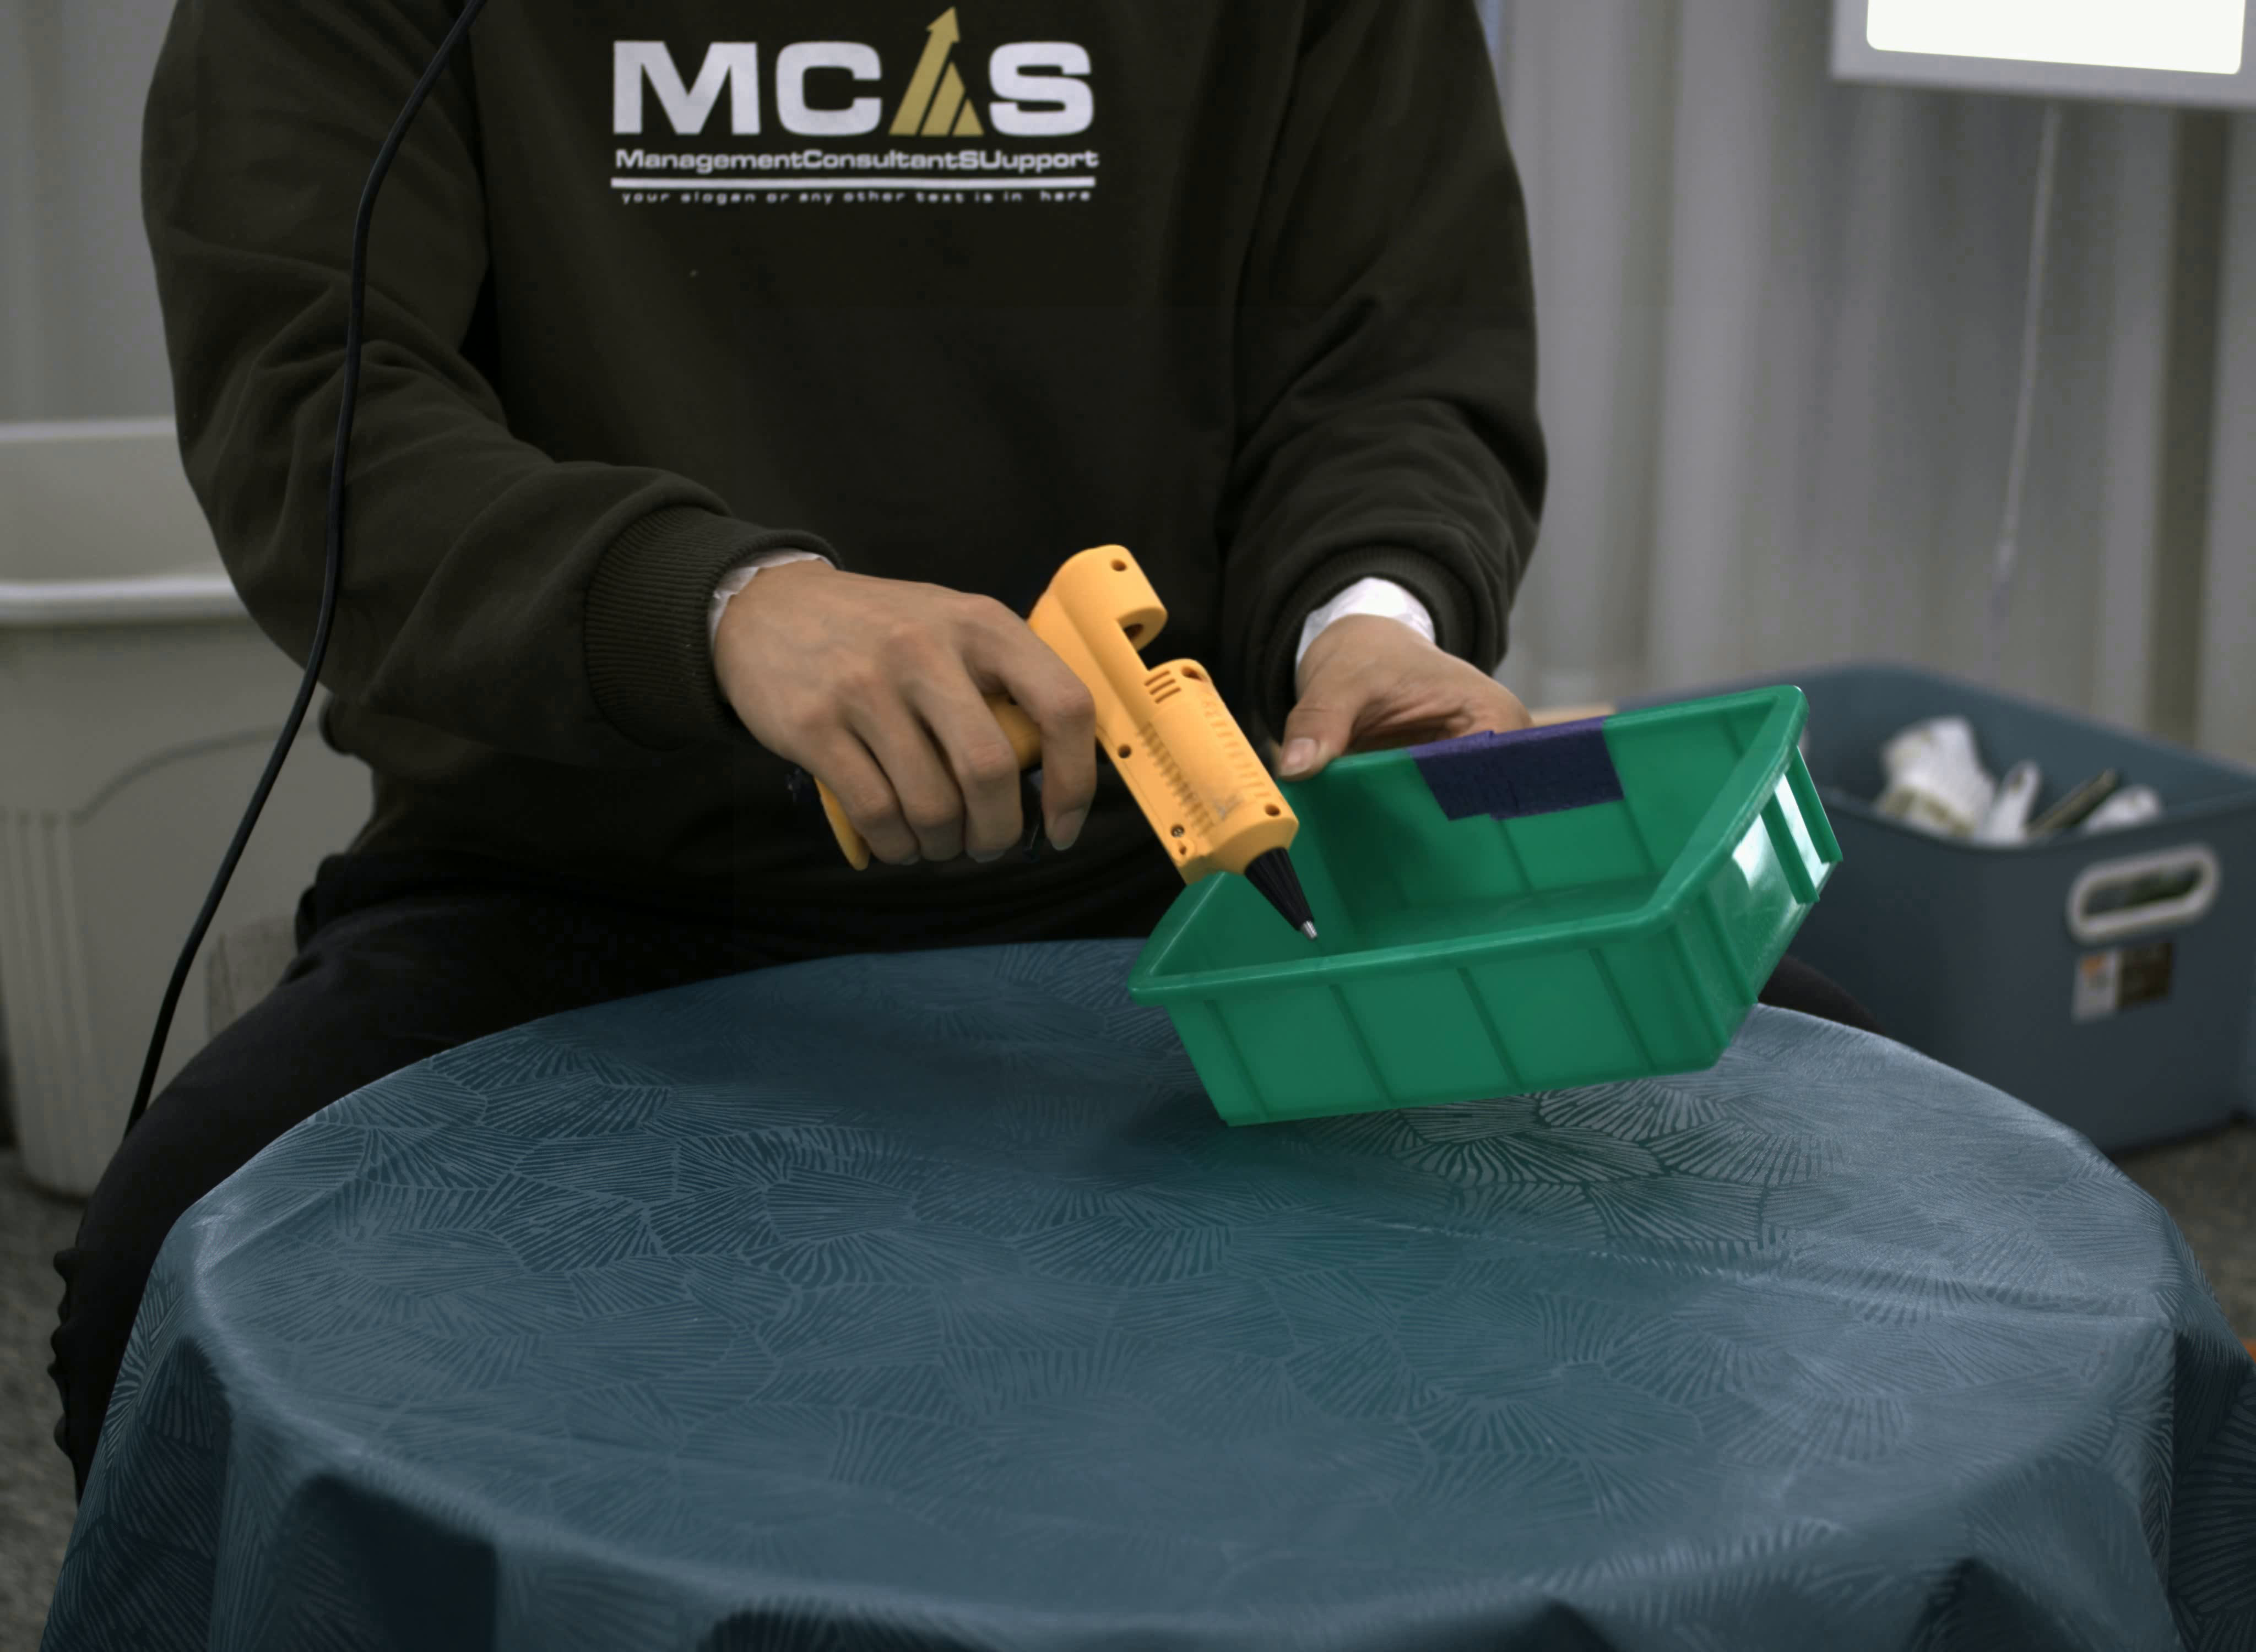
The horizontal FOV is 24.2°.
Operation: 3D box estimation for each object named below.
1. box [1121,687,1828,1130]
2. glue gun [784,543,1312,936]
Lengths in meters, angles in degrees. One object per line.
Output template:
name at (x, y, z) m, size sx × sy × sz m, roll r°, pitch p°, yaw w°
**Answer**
box at (0.115, 0.030, 1.672) m, size 0.208 × 0.066 × 0.138 m, roll -11°, pitch 25°, yaw 33°
glue gun at (-0.017, 0.001, 1.658) m, size 0.133 × 0.150 × 0.031 m, roll -36°, pitch -22°, yaw -4°
